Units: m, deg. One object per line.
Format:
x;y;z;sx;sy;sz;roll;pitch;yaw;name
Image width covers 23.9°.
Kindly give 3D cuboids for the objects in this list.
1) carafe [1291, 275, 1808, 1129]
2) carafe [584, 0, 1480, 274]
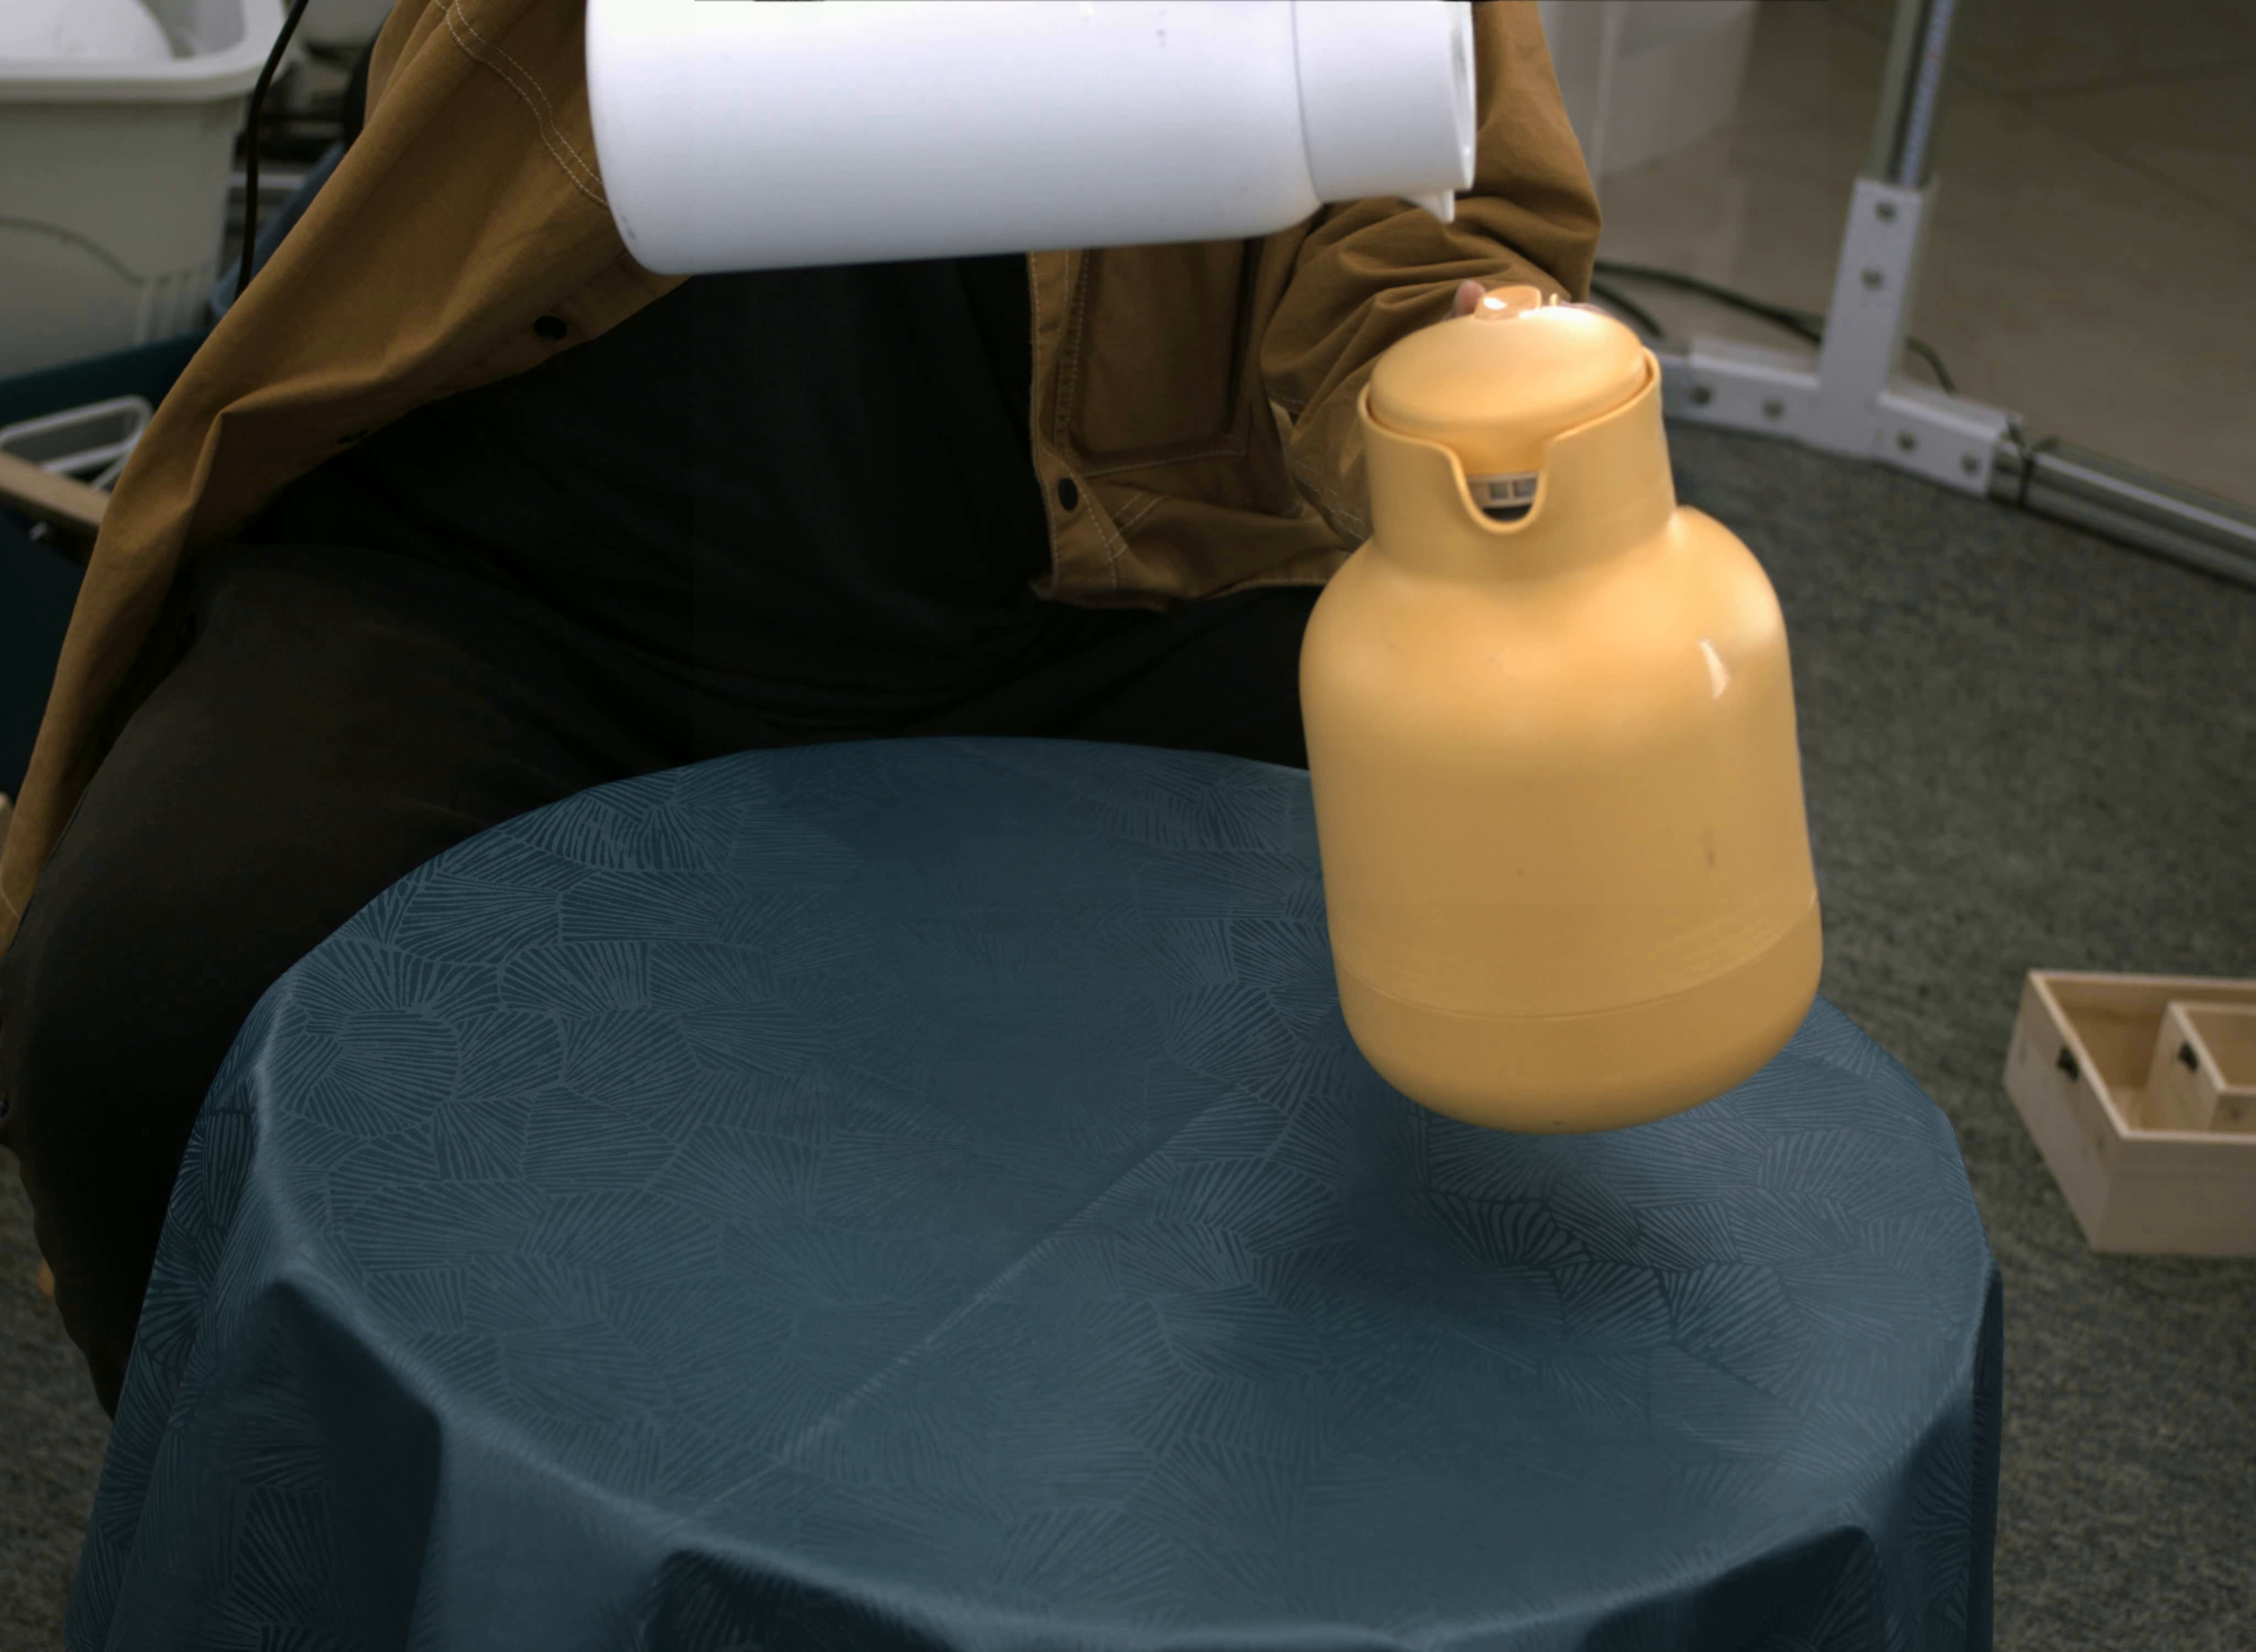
0.138;-0.050;1.756;0.163;0.259;0.203;-2;28;10;carafe
-0.031;-0.251;1.644;0.269;0.171;0.124;-2;42;11;carafe
